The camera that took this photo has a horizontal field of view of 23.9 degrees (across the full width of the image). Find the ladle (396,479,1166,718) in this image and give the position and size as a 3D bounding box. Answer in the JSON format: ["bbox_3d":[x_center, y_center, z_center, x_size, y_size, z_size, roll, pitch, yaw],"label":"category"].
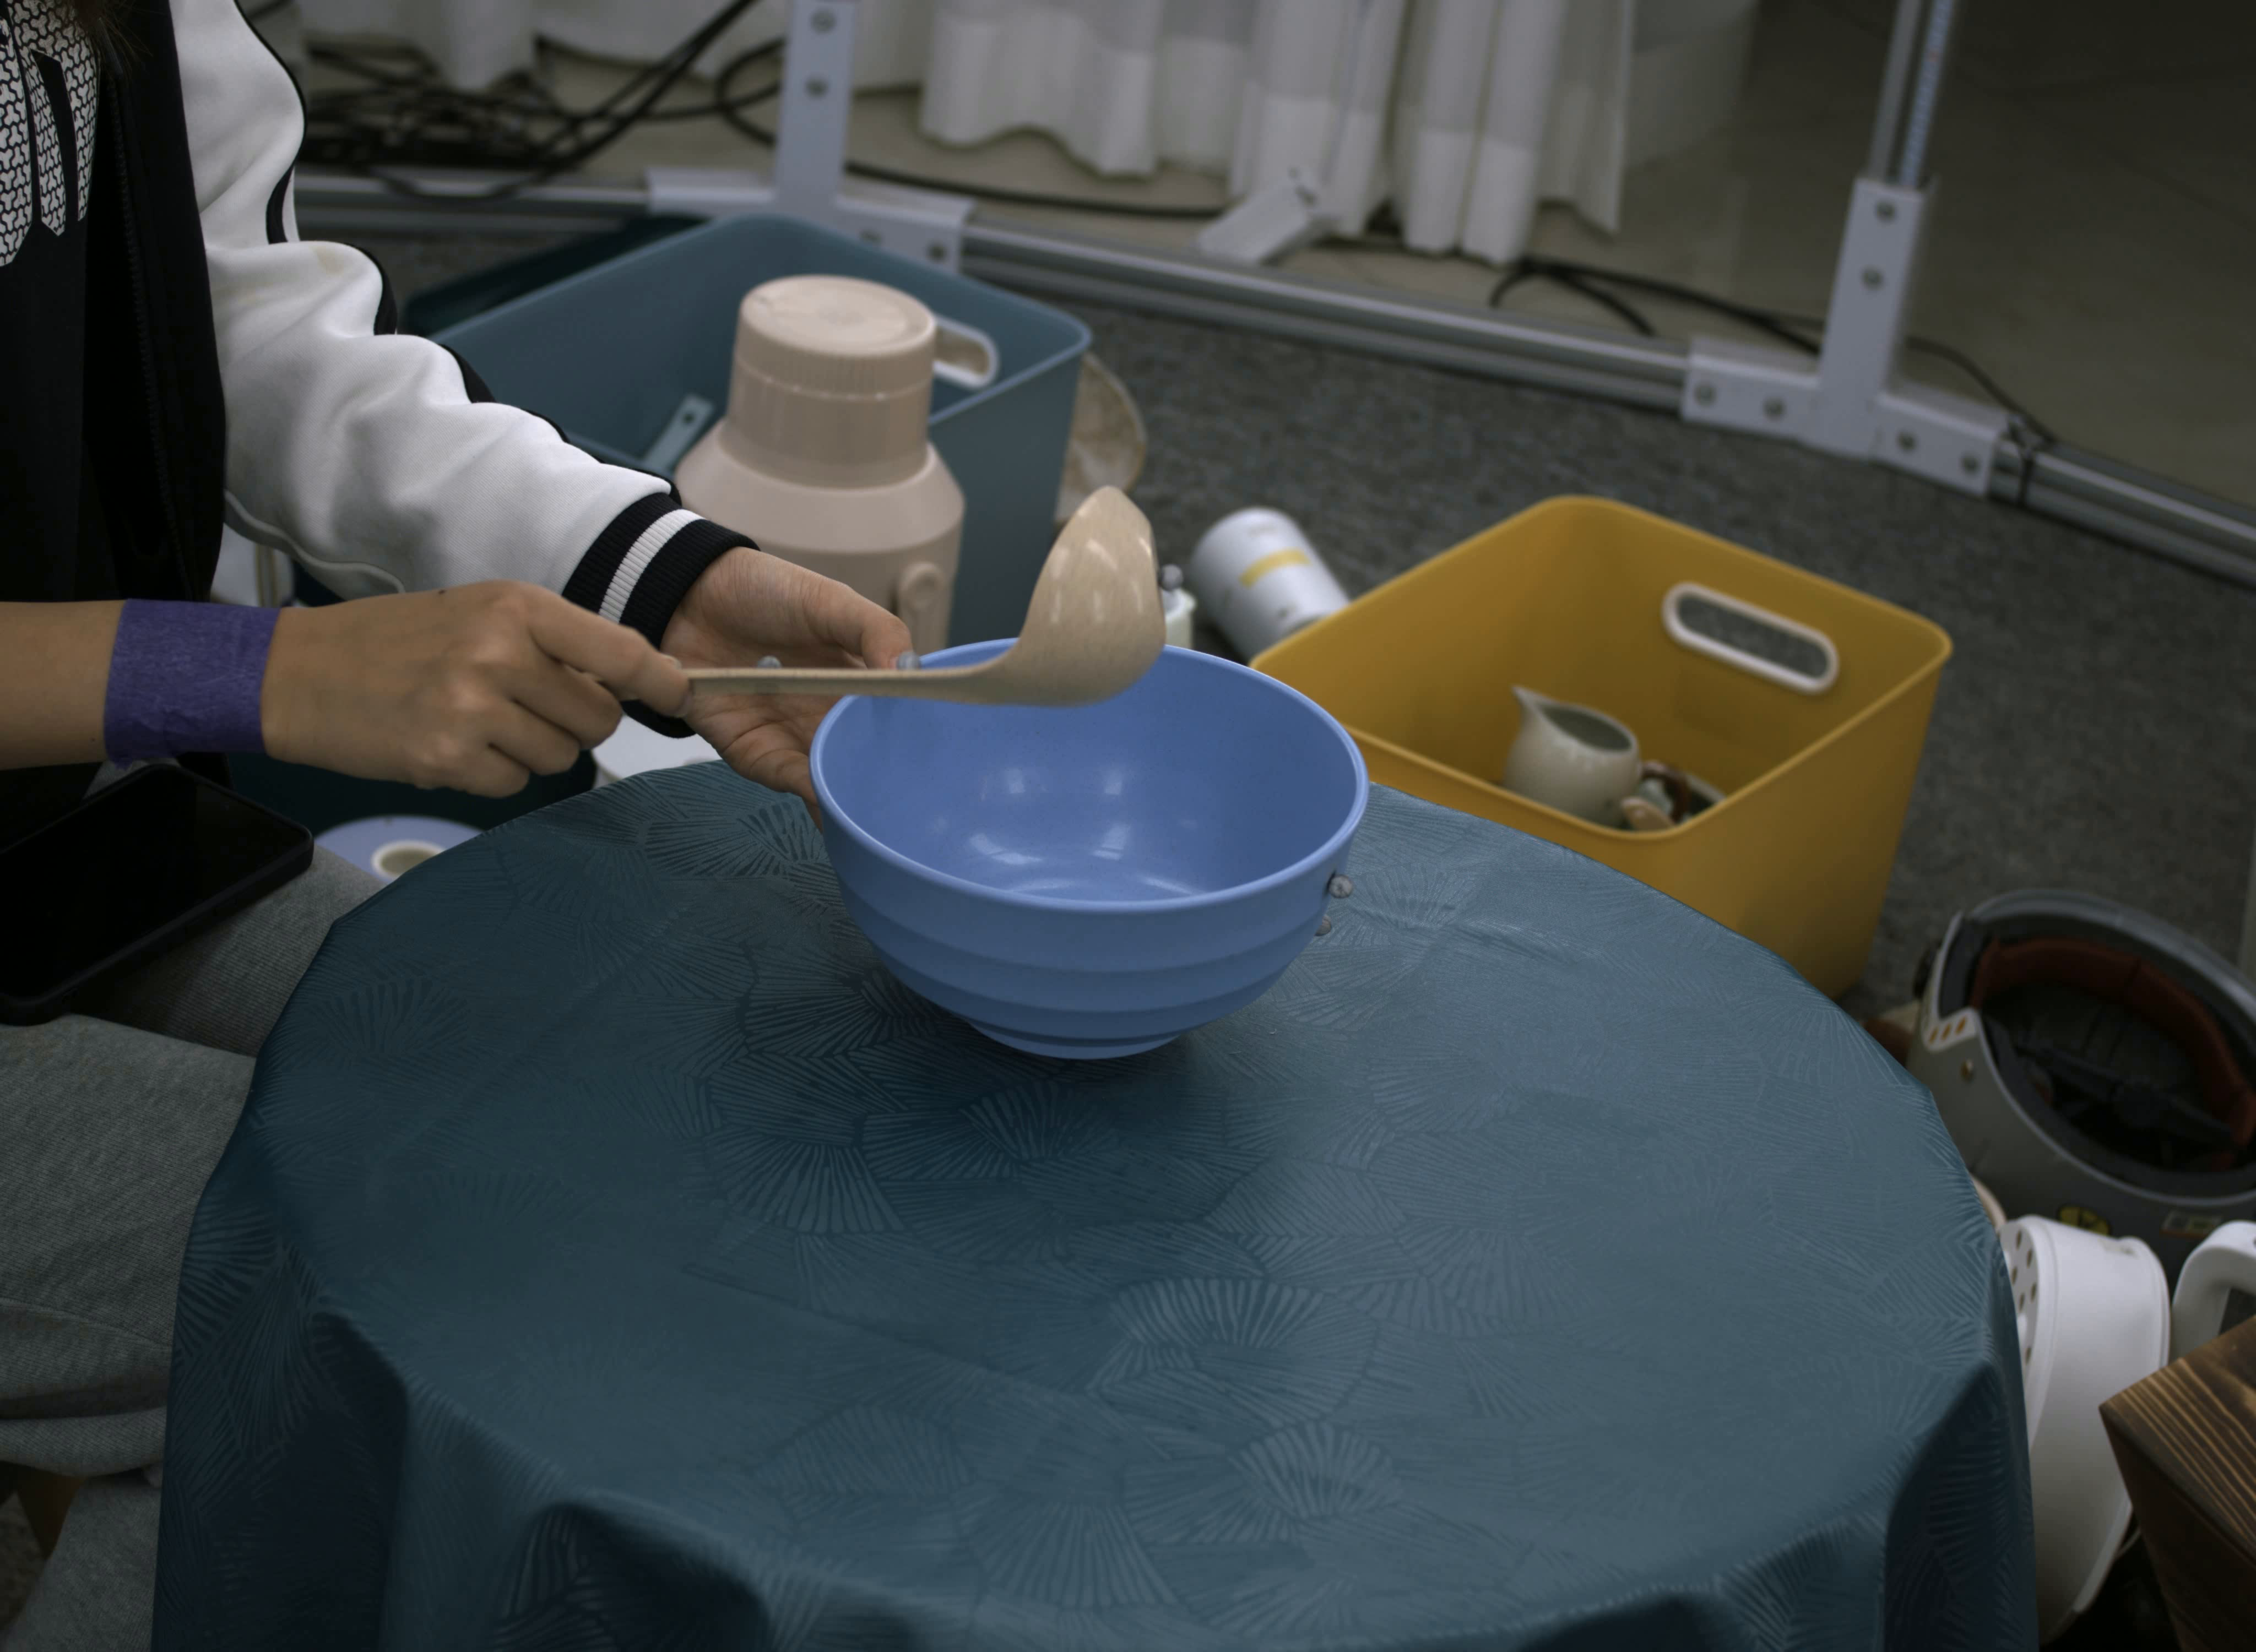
[{"bbox_3d":[-0.114,-0.073,1.759,0.254,0.071,0.073,-2,56,5],"label":"ladle"}]

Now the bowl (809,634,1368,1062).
[{"bbox_3d":[-0.016,0.020,1.885,0.196,0.095,0.198,2,31,-1],"label":"bowl"}]
